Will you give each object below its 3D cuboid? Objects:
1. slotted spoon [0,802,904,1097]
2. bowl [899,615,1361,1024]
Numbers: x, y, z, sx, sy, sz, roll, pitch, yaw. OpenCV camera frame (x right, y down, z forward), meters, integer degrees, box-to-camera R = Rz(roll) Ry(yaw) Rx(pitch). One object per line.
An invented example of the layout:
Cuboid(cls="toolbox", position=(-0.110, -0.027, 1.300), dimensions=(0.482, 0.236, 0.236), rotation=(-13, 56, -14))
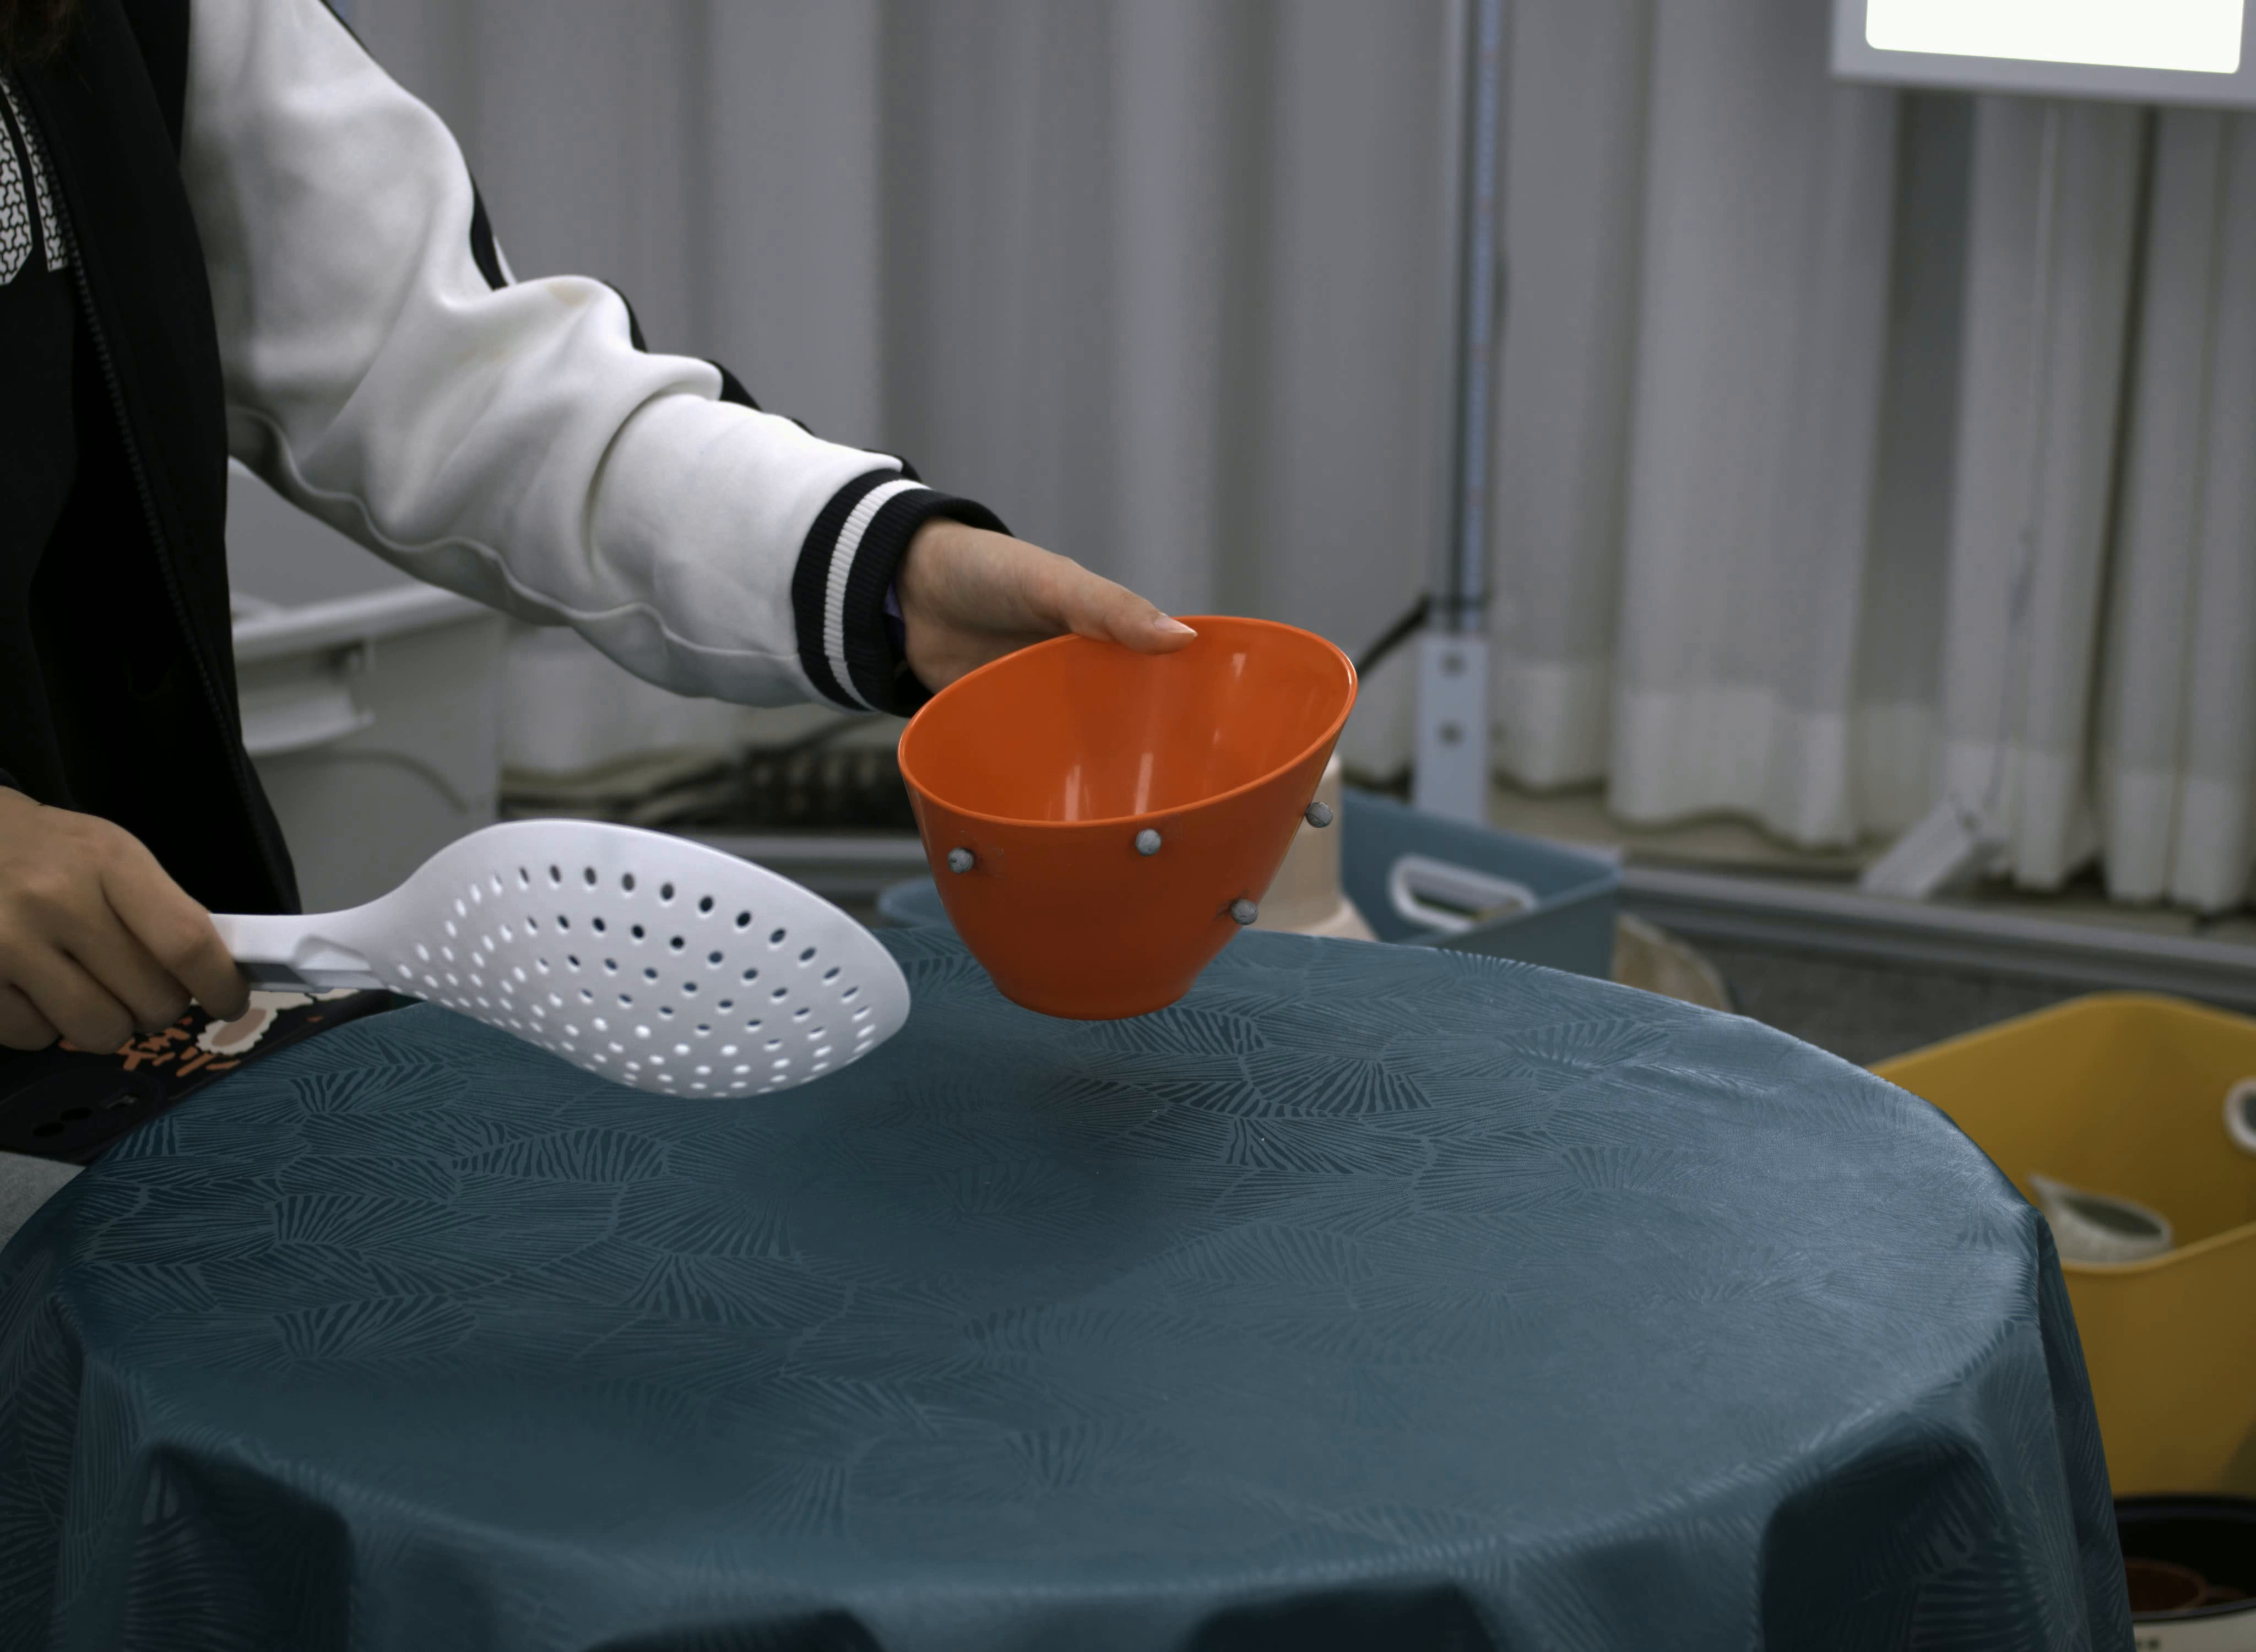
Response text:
Cuboid(cls="slotted spoon", position=(-0.222, 0.036, 1.503), dimensions=(0.345, 0.045, 0.138), rotation=(5, -28, 31))
Cuboid(cls="bowl", position=(0.001, 0.003, 1.692), dimensions=(0.147, 0.106, 0.147), rotation=(0, 28, 1))
